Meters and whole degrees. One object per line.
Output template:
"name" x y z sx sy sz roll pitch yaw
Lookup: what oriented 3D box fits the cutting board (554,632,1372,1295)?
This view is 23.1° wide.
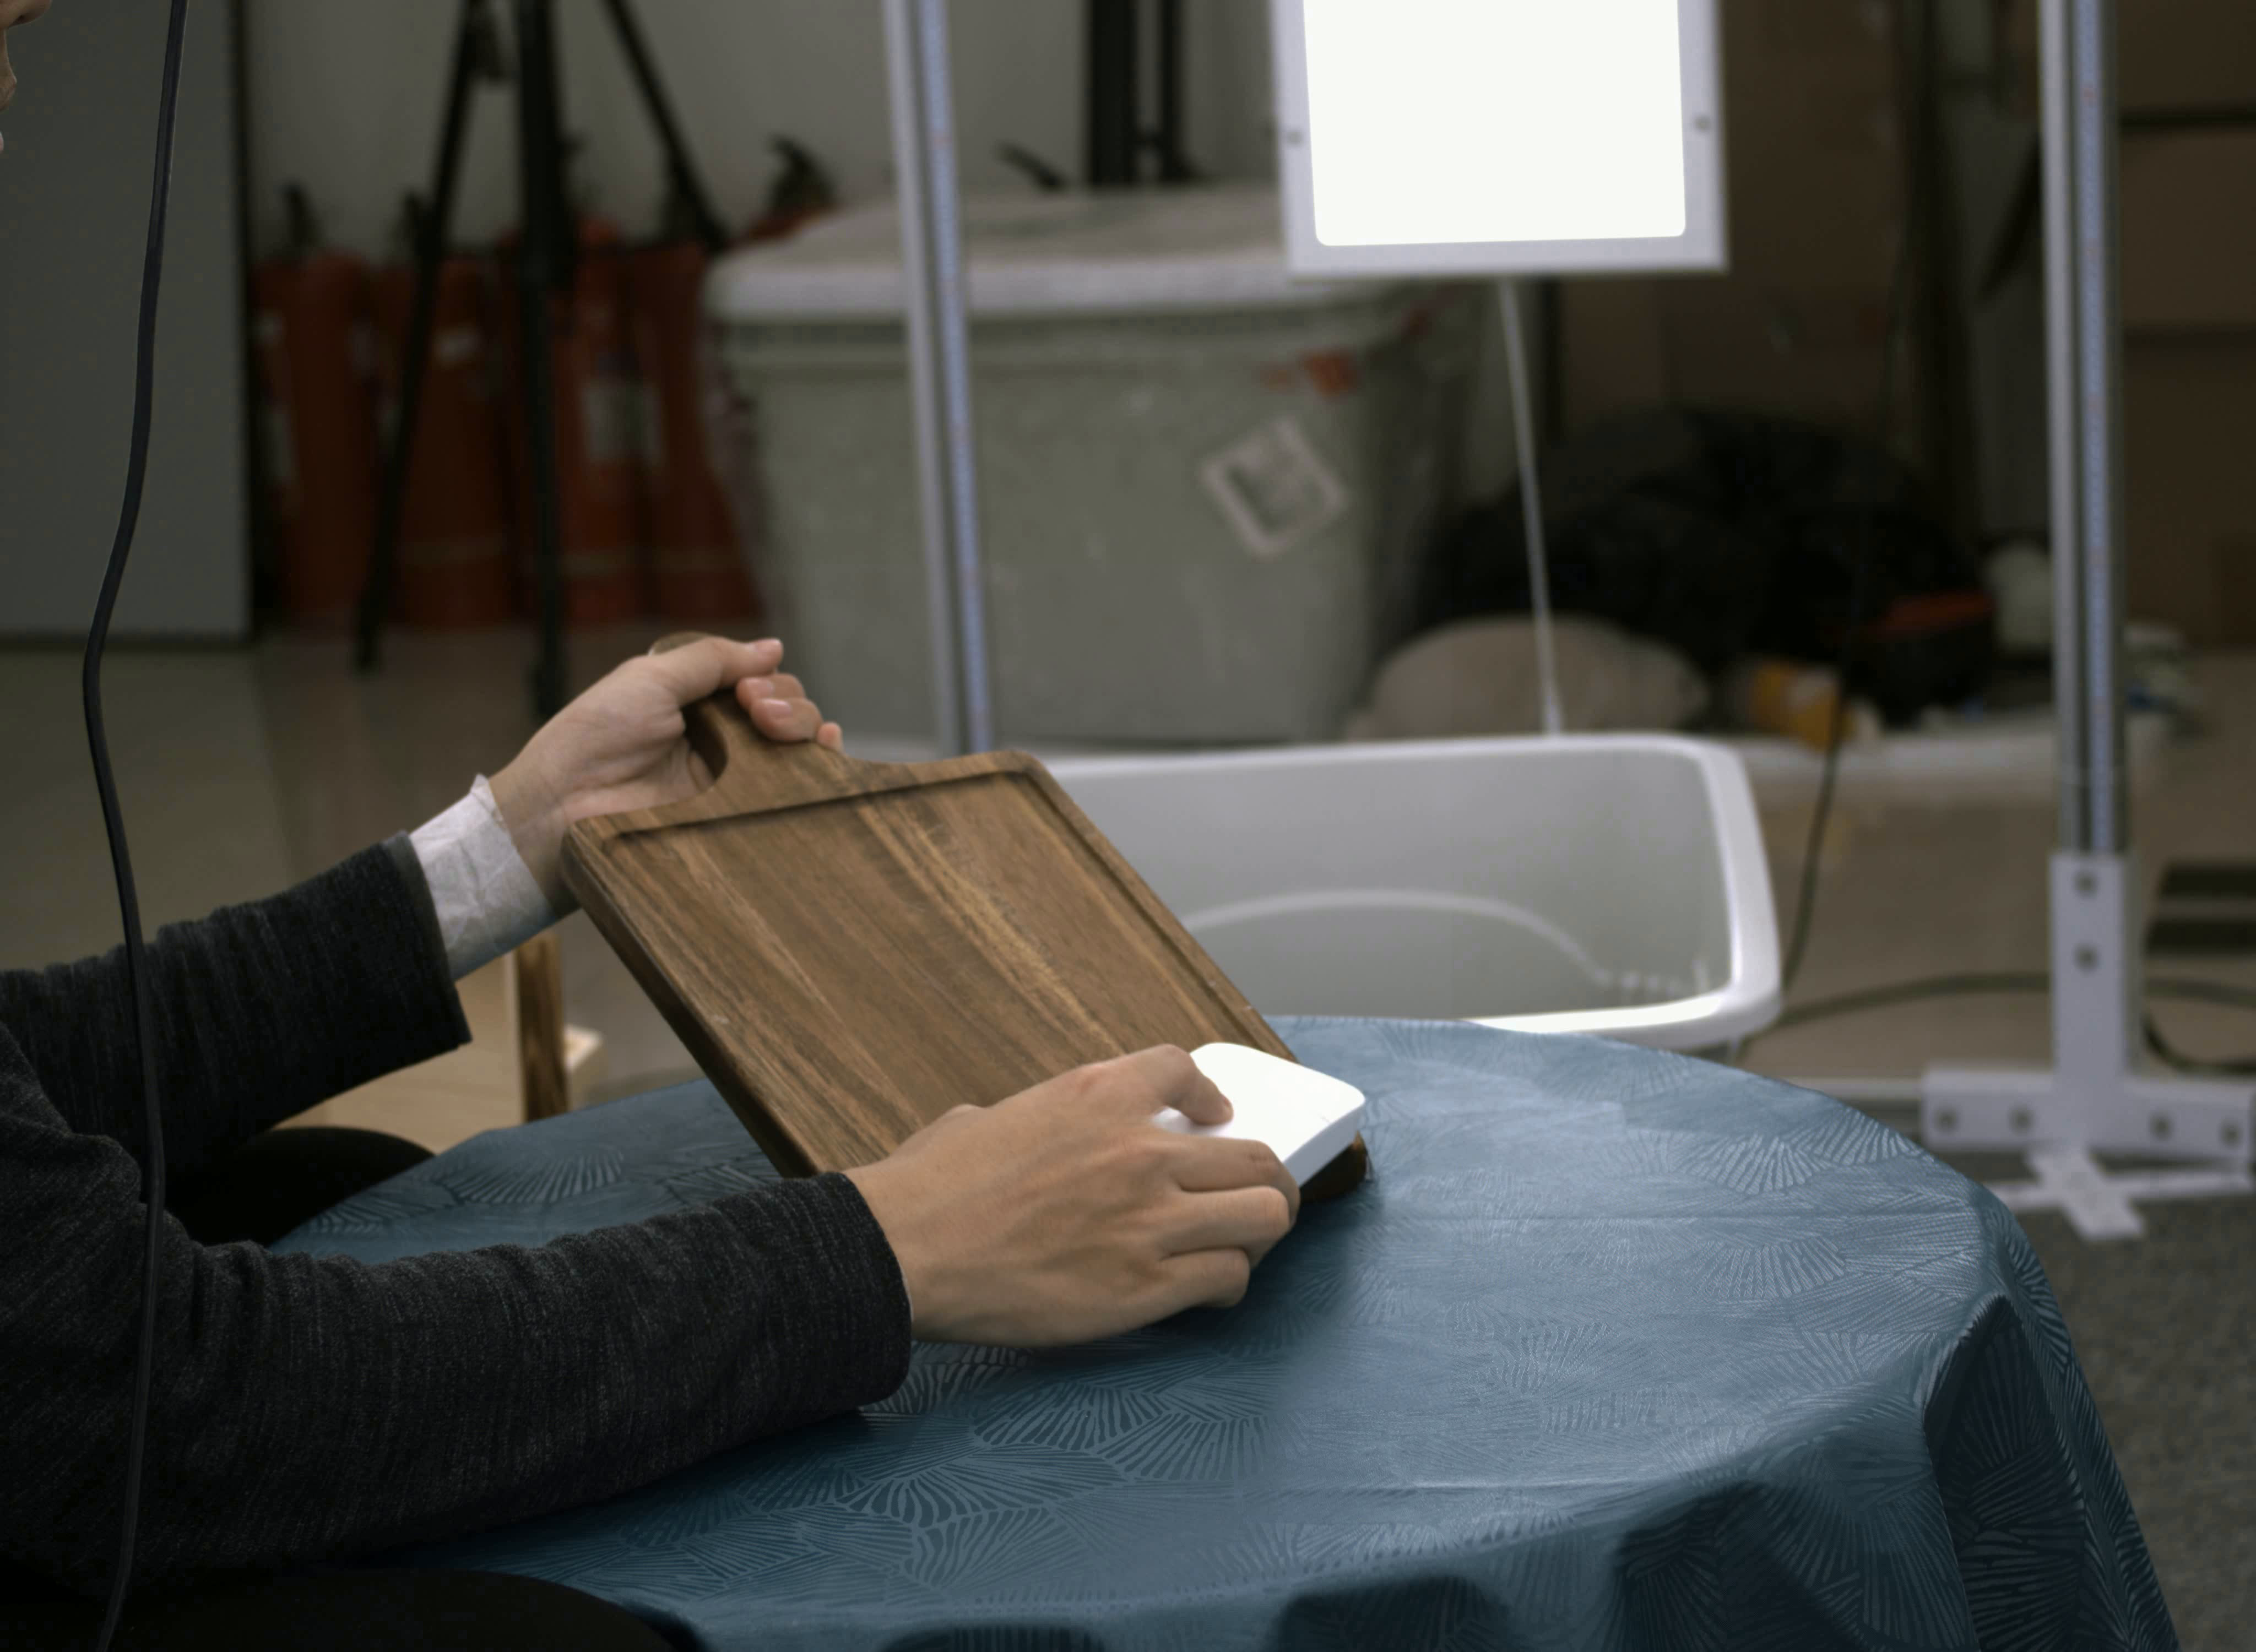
"cutting board" -0.084 0.034 1.947 0.196 0.023 0.356 -11 39 -30

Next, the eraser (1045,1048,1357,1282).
"eraser" 0.023 0.108 1.819 0.064 0.035 0.128 20 27 24
